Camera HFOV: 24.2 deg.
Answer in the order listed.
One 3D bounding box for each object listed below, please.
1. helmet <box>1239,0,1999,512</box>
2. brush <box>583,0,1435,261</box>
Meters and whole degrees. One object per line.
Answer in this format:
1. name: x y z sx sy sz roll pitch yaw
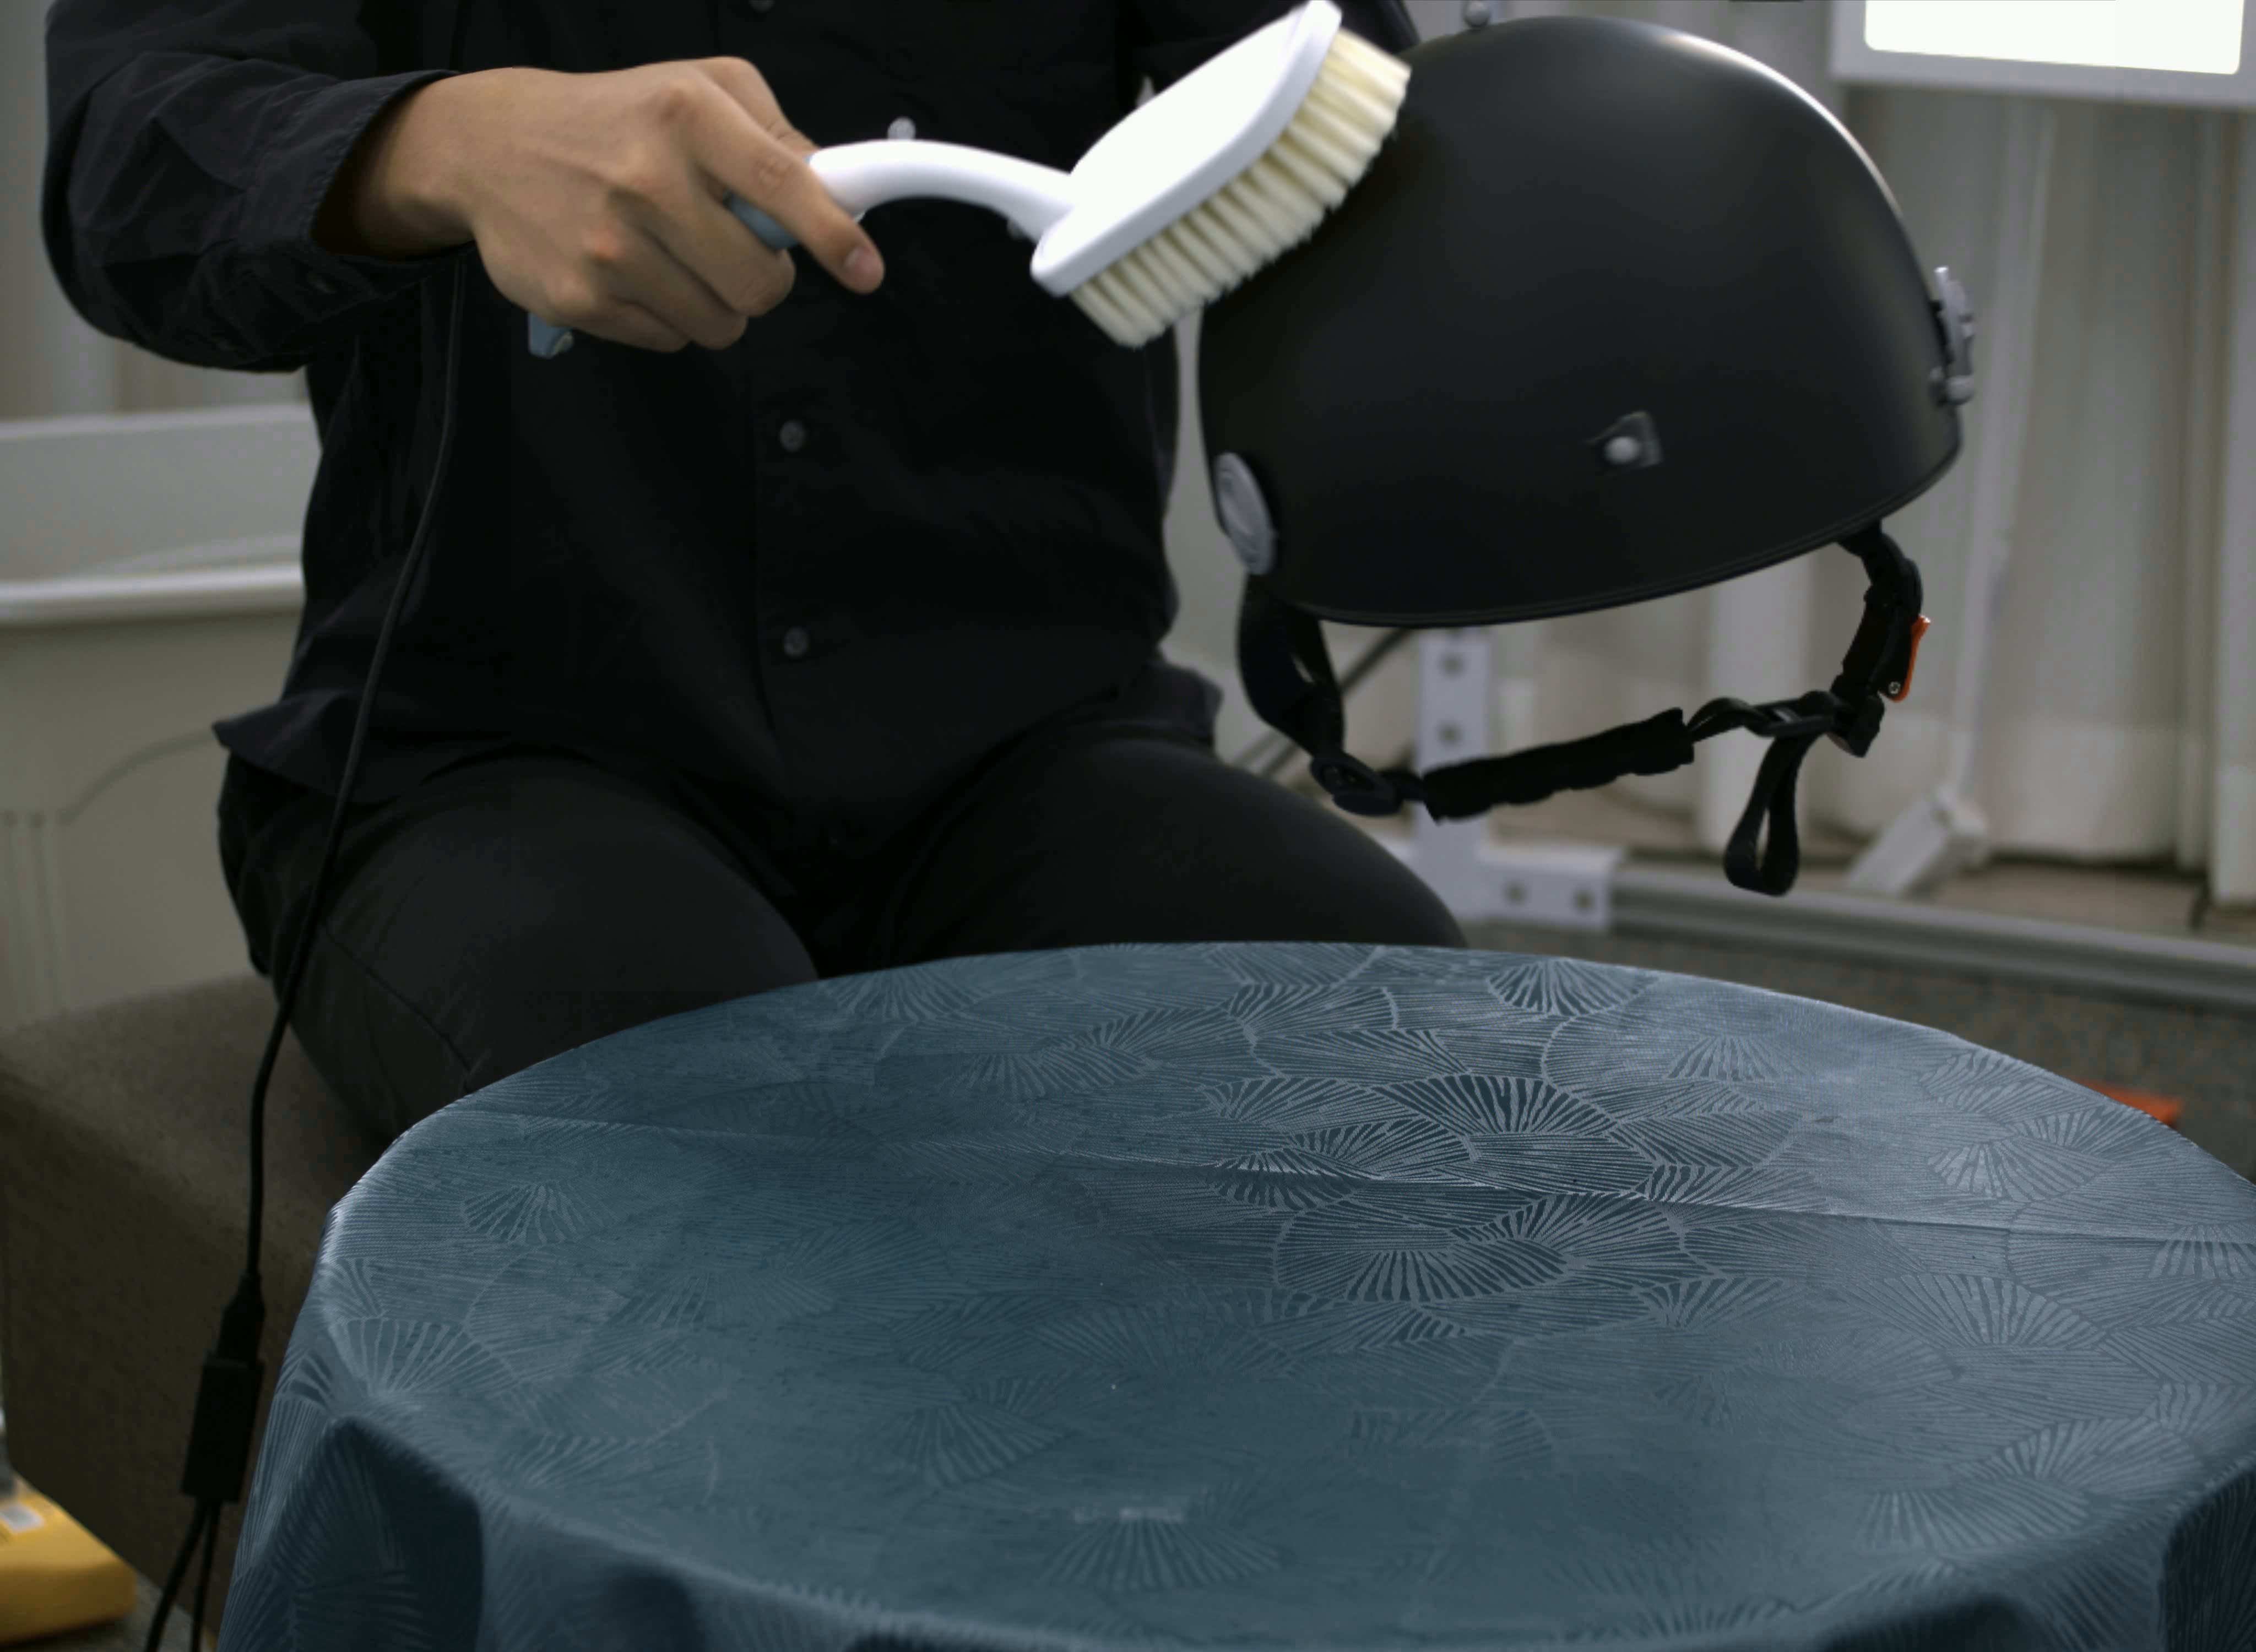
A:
1. helmet: 0.140 -0.192 1.610 0.229 0.168 0.271 -15 11 -1
2. brush: -0.031 -0.209 1.623 0.323 0.085 0.083 -15 4 36
